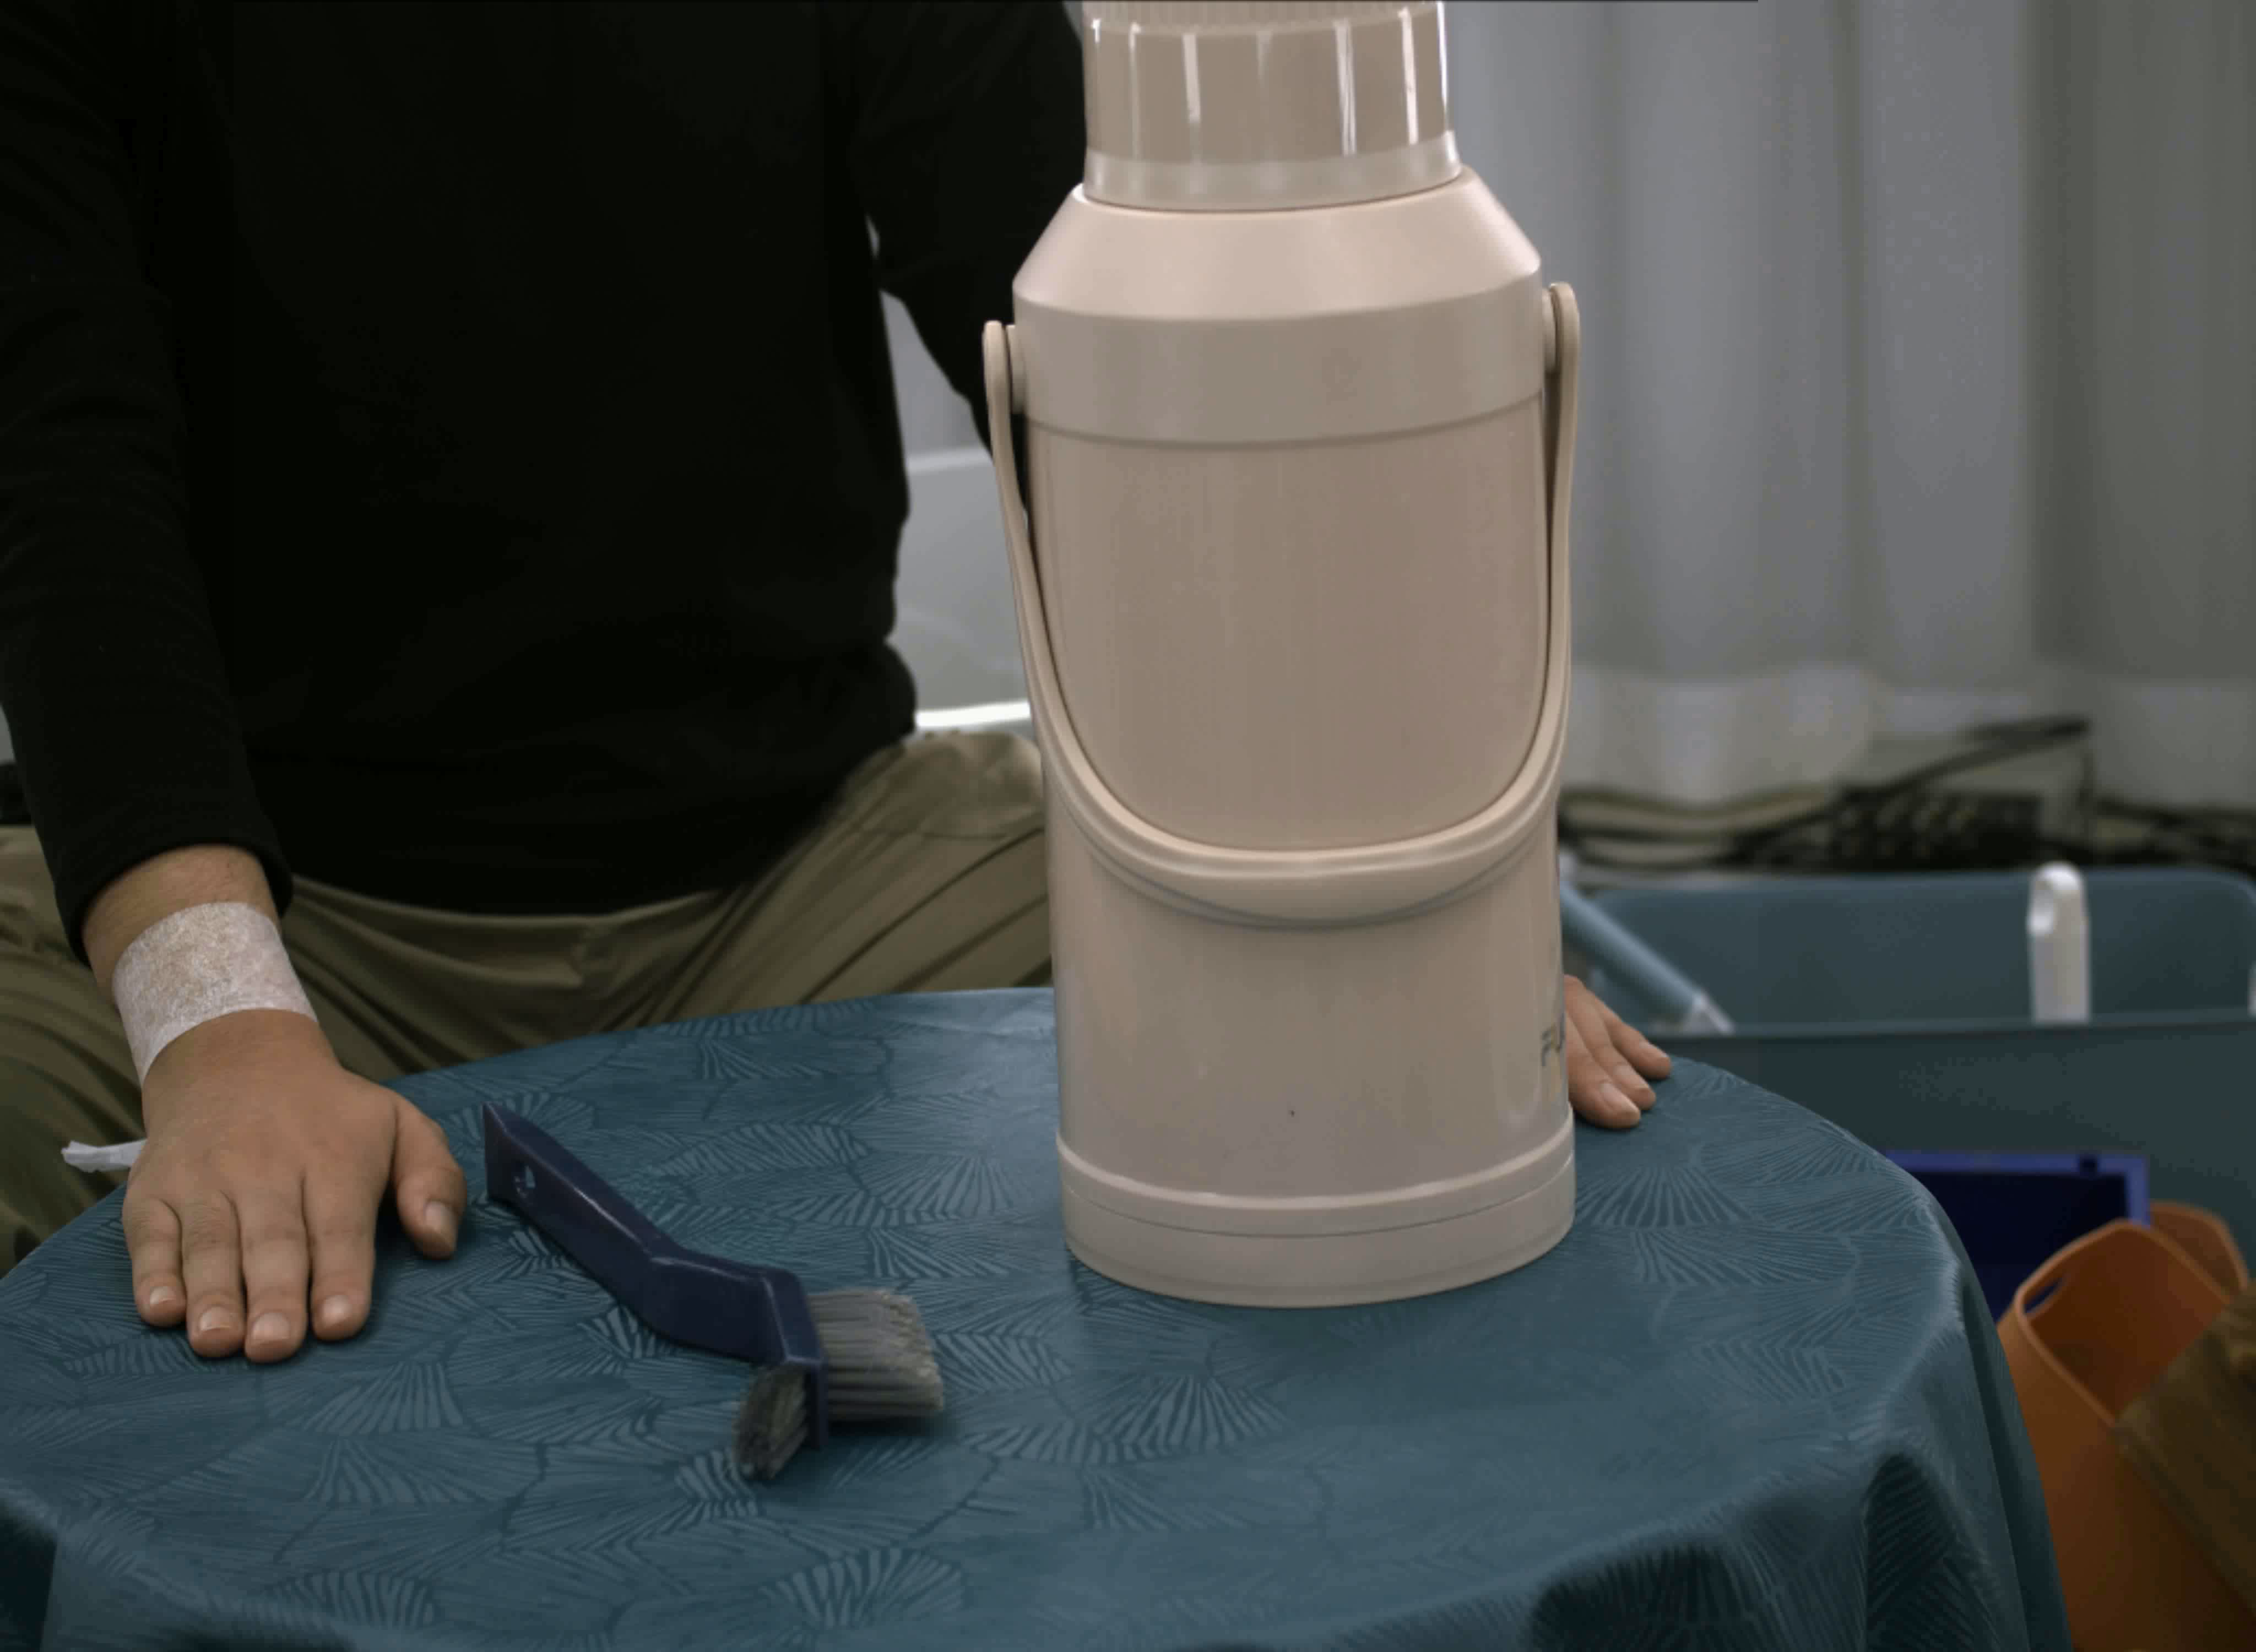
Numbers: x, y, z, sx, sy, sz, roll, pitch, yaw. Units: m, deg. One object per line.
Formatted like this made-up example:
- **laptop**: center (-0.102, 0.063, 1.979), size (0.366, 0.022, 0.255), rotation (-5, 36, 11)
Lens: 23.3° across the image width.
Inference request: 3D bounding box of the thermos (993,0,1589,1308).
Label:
- **thermos**: center (0.051, -0.074, 1.646), size (0.174, 0.405, 0.208), rotation (-6, 14, -5)

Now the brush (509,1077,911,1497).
- **brush**: center (-0.146, 0.132, 1.614), size (0.095, 0.033, 0.275), rotation (-11, 19, -31)
